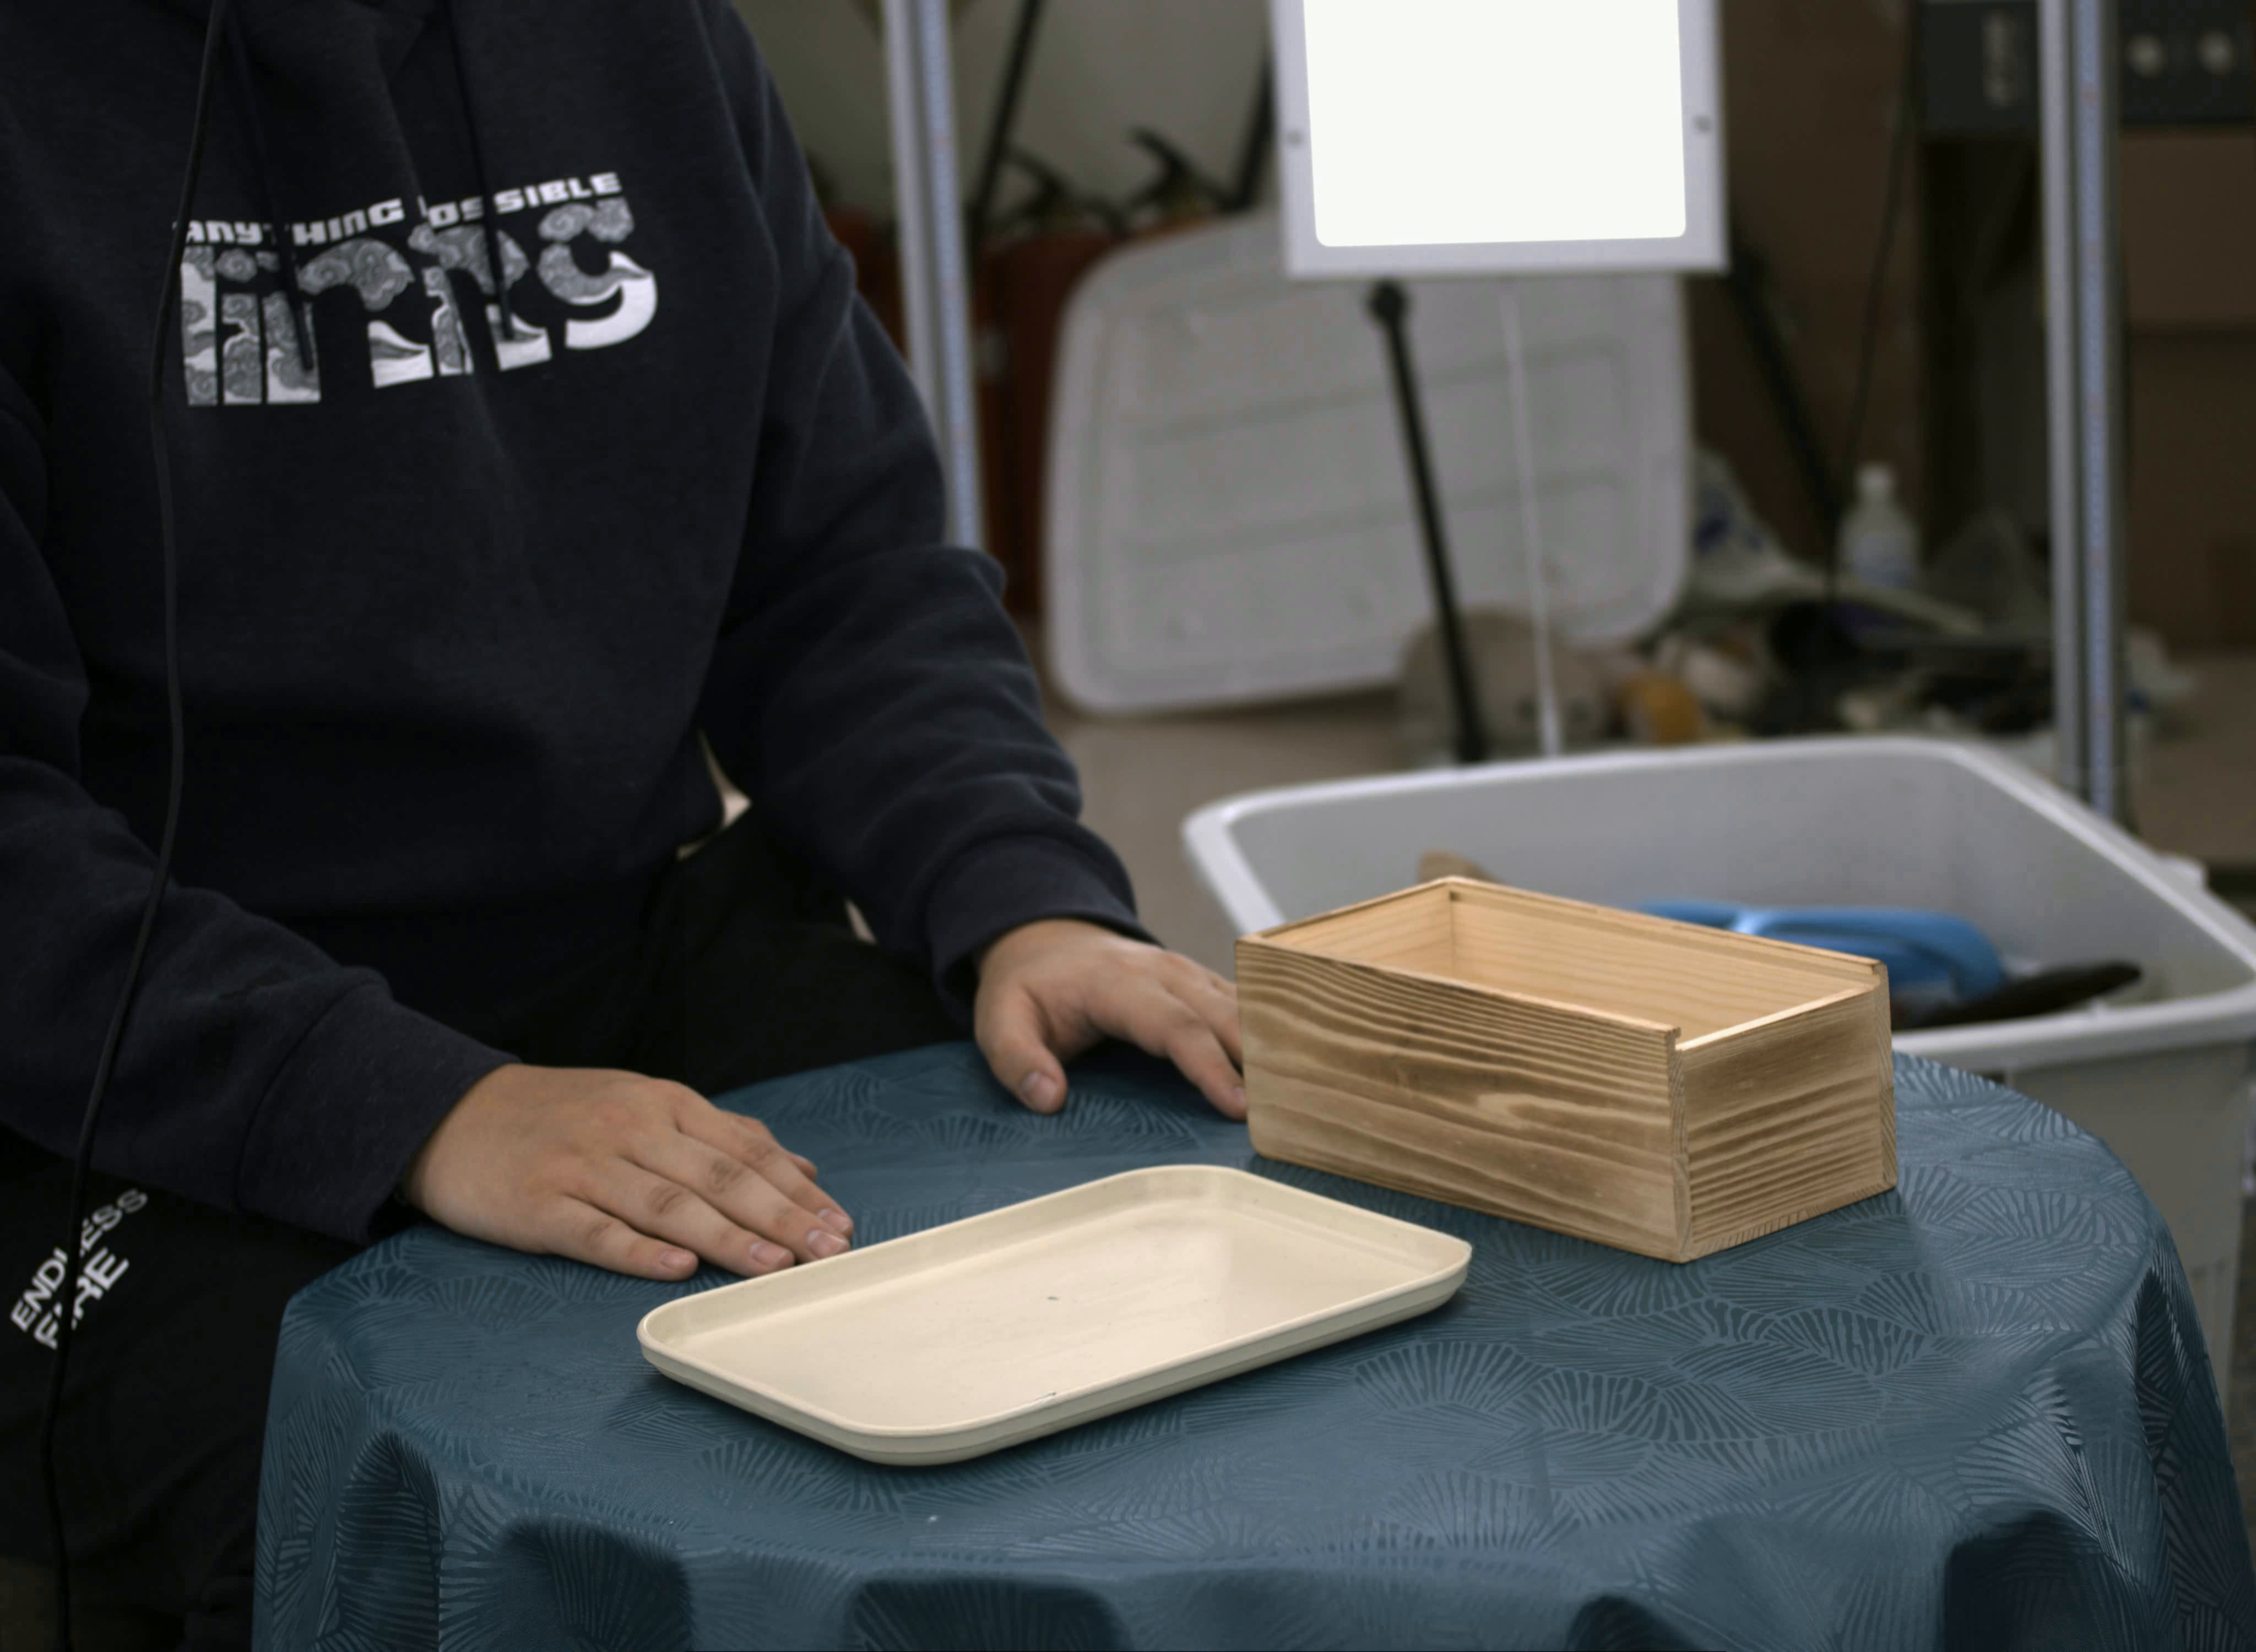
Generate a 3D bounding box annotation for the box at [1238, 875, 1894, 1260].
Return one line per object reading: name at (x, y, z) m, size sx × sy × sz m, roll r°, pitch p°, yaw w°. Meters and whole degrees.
box at (0.148, 0.079, 1.873) m, size 0.105 × 0.080 × 0.216 m, roll -15°, pitch 16°, yaw -37°

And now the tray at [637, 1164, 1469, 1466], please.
tray at (-0.022, 0.154, 1.754) m, size 0.234 × 0.017 × 0.175 m, roll -14°, pitch 16°, yaw -33°
